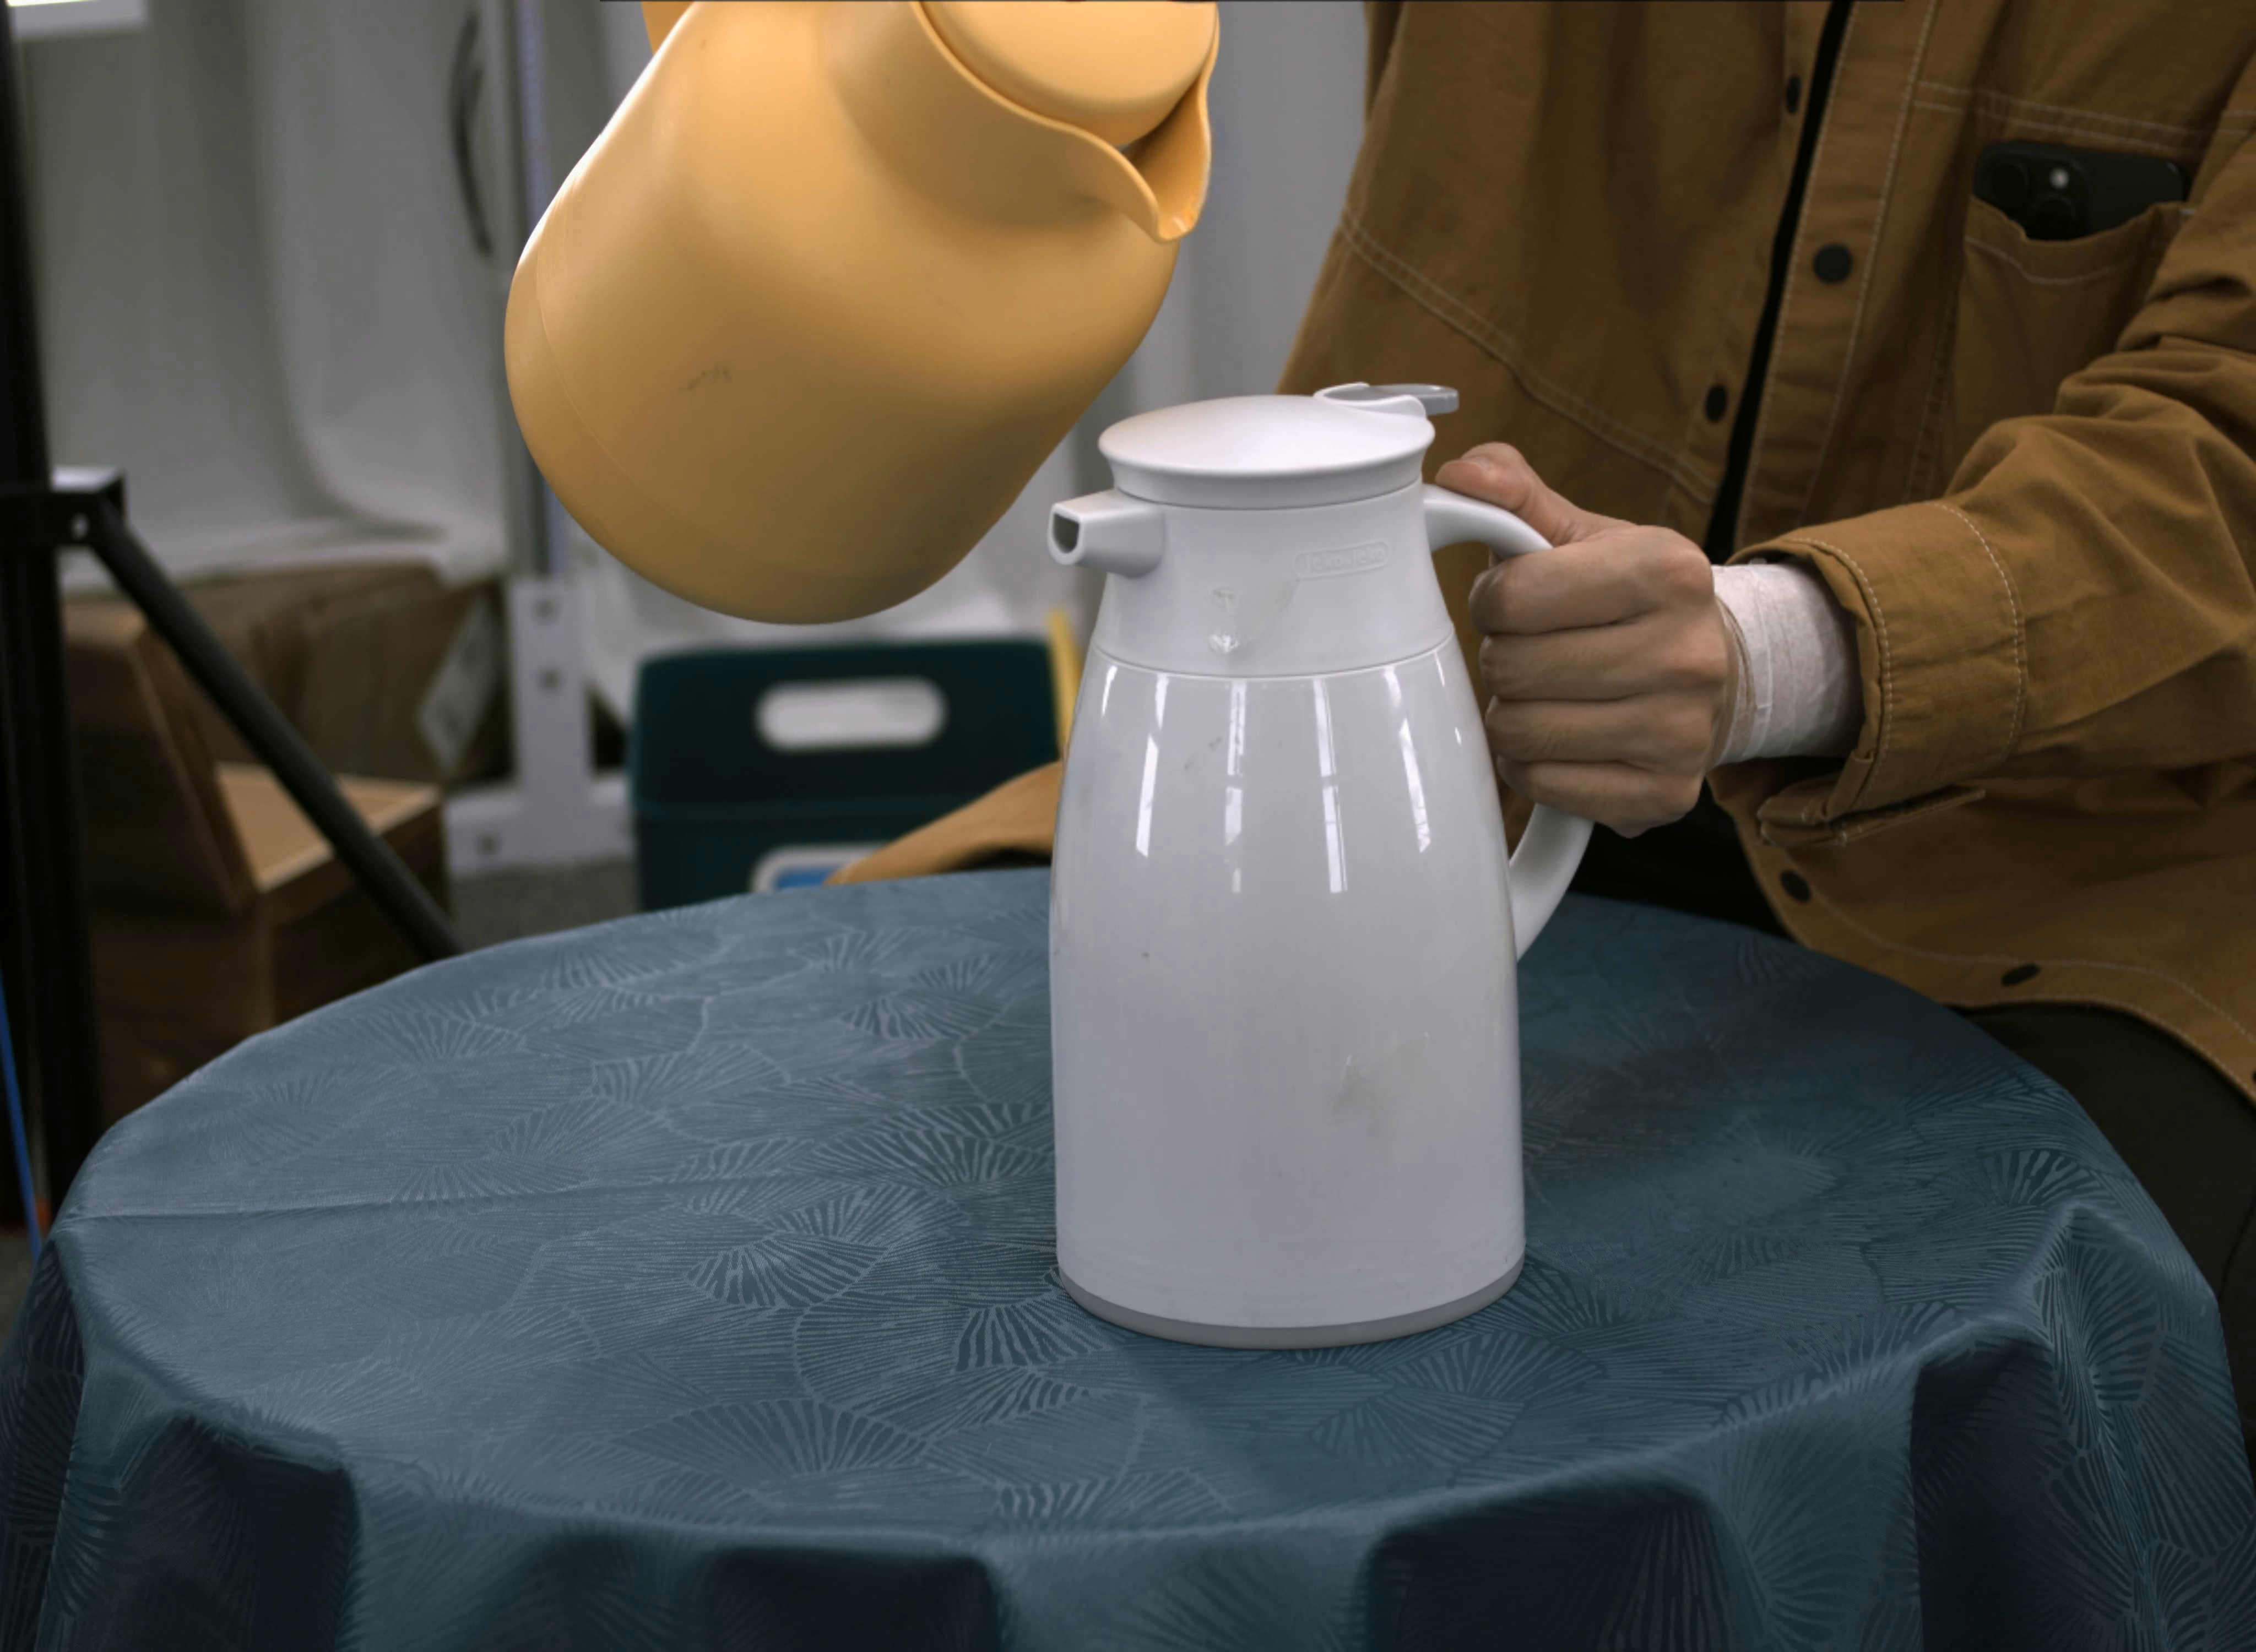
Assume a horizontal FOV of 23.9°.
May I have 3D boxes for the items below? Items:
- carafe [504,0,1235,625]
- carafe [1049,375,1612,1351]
[{"bbox_3d":[-0.075,-0.194,1.532,0.160,0.204,0.263,-22,-14,-37],"label":"carafe"},{"bbox_3d":[0.058,0.002,1.467,0.164,0.248,0.135,-9,16,-25],"label":"carafe"}]
